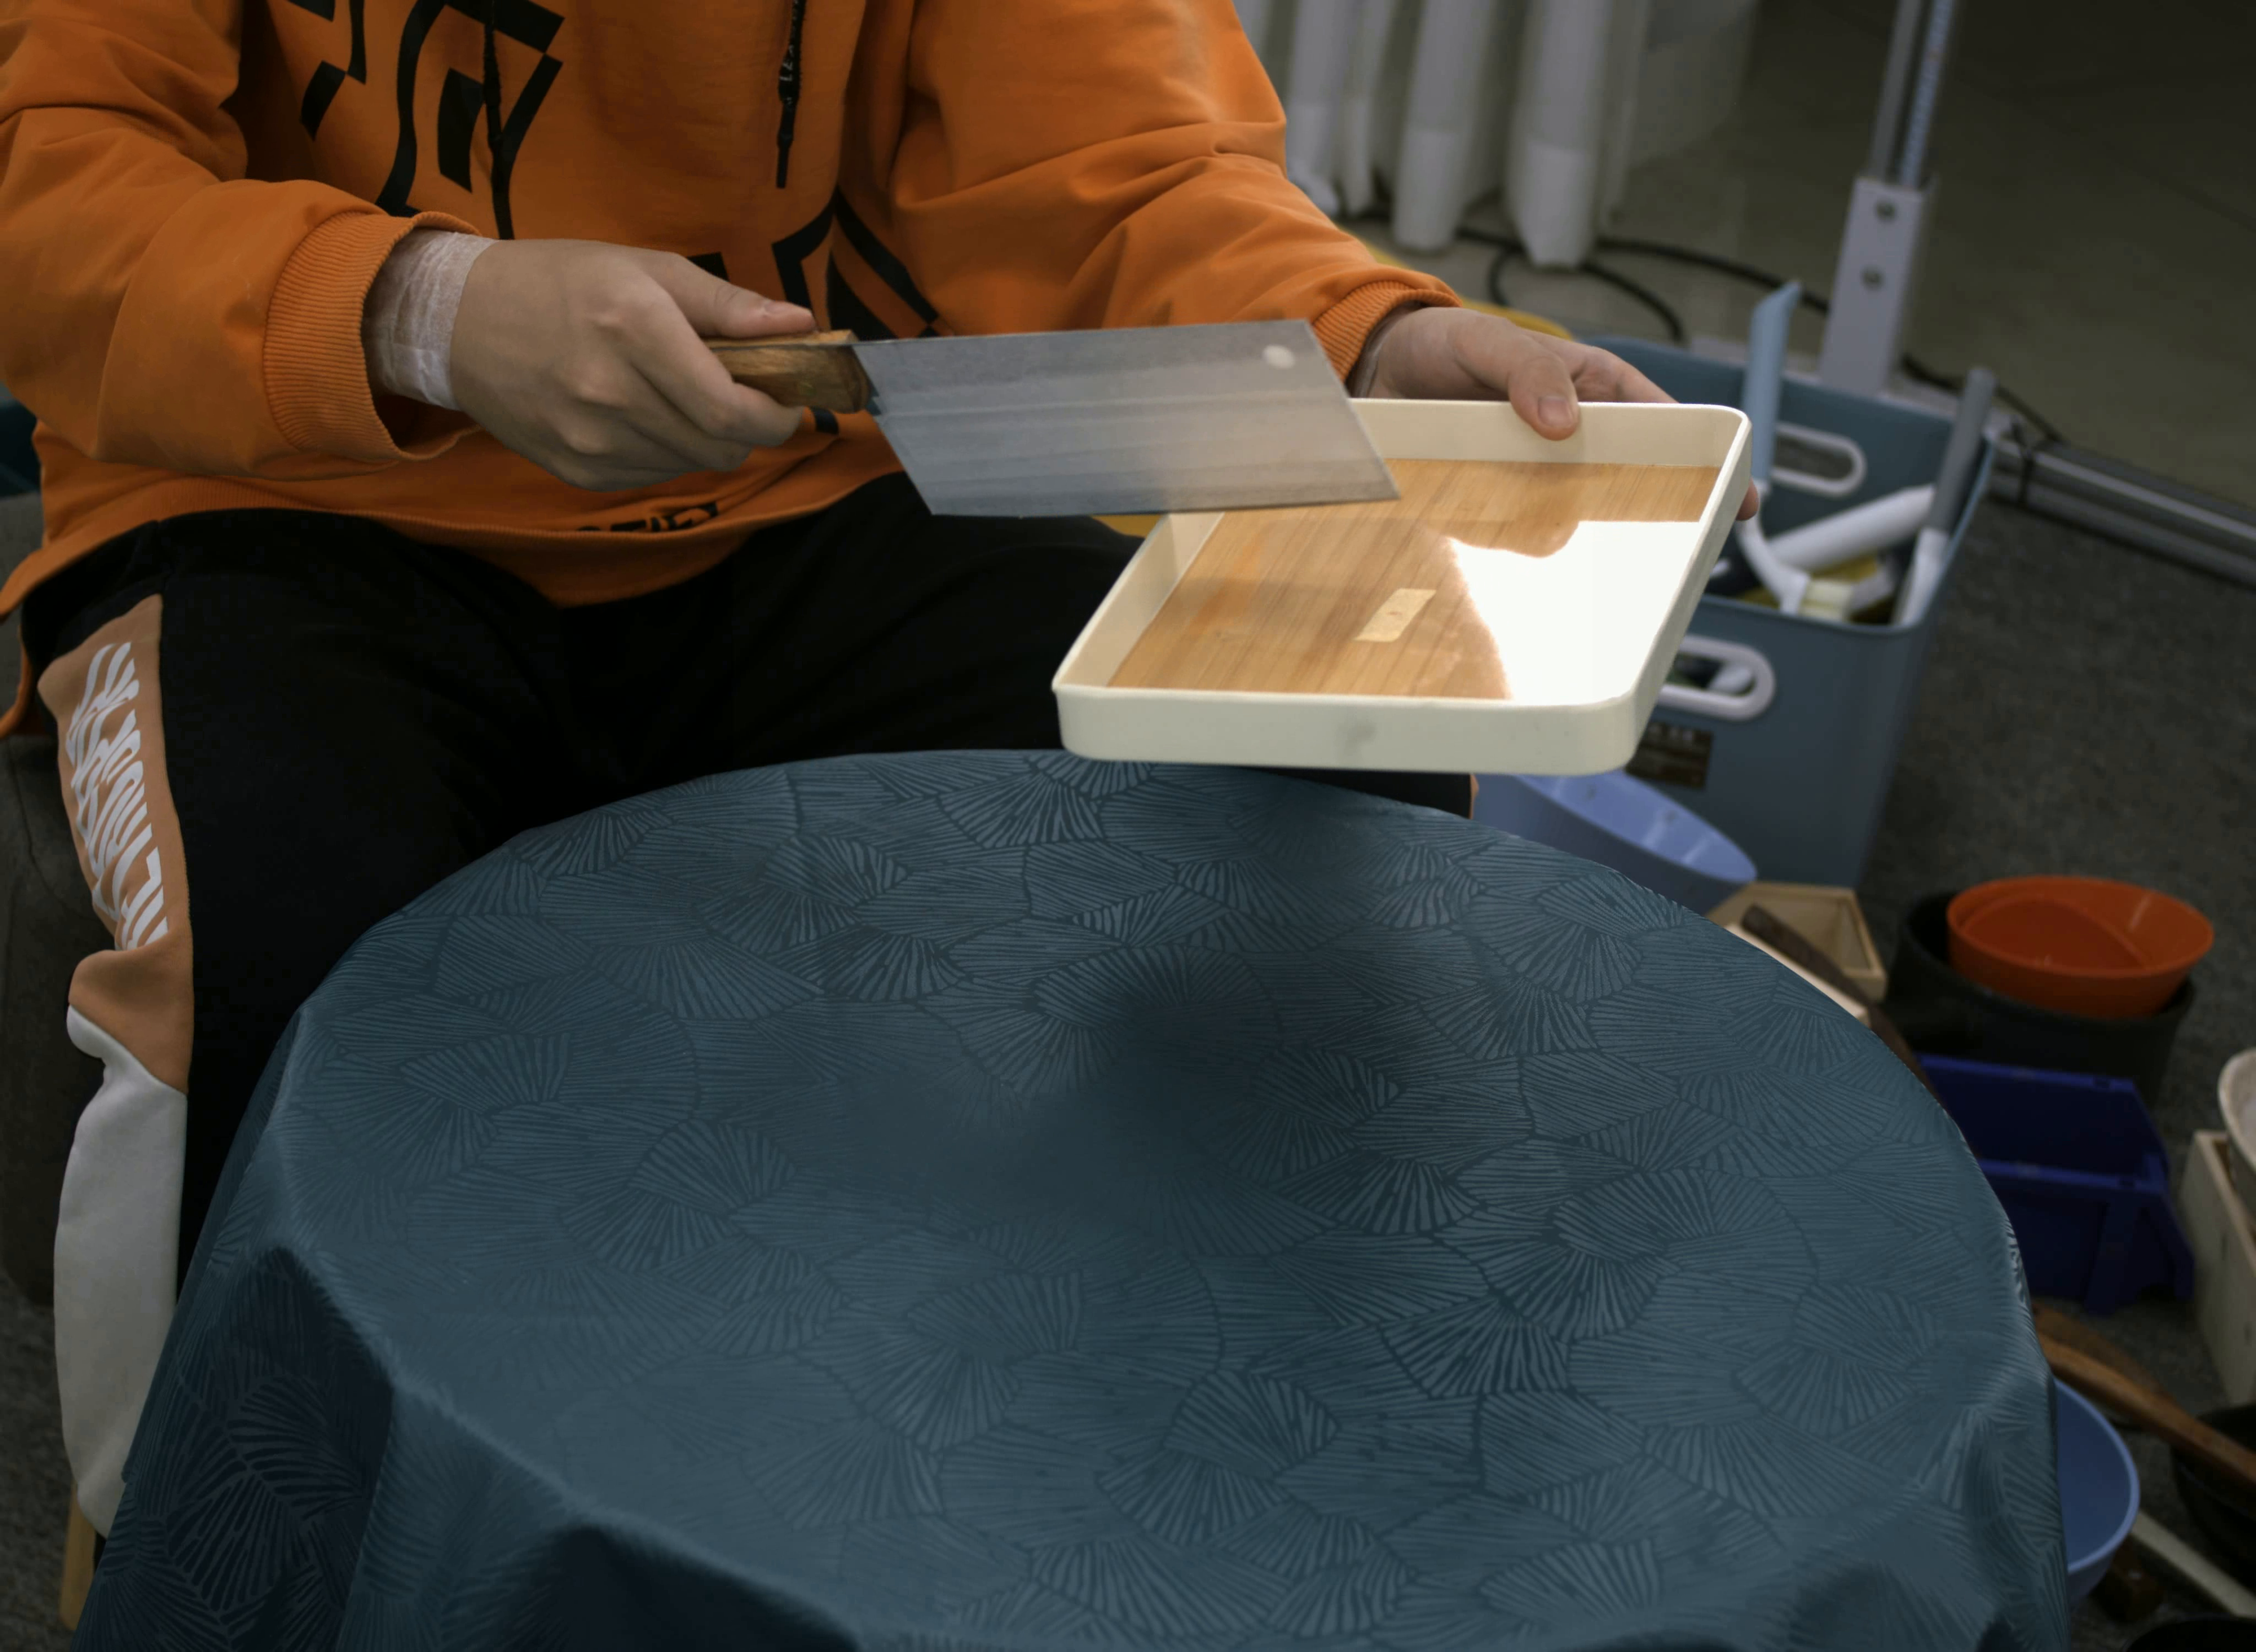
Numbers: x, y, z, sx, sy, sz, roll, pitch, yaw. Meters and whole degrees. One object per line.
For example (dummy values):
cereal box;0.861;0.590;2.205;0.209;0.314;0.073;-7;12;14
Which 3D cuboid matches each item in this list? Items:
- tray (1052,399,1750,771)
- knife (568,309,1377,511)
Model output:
tray;0.100;-0.087;1.816;0.192;0.027;0.301;2;23;15
knife;-0.055;-0.141;1.853;0.307;0.092;0.021;0;51;31
